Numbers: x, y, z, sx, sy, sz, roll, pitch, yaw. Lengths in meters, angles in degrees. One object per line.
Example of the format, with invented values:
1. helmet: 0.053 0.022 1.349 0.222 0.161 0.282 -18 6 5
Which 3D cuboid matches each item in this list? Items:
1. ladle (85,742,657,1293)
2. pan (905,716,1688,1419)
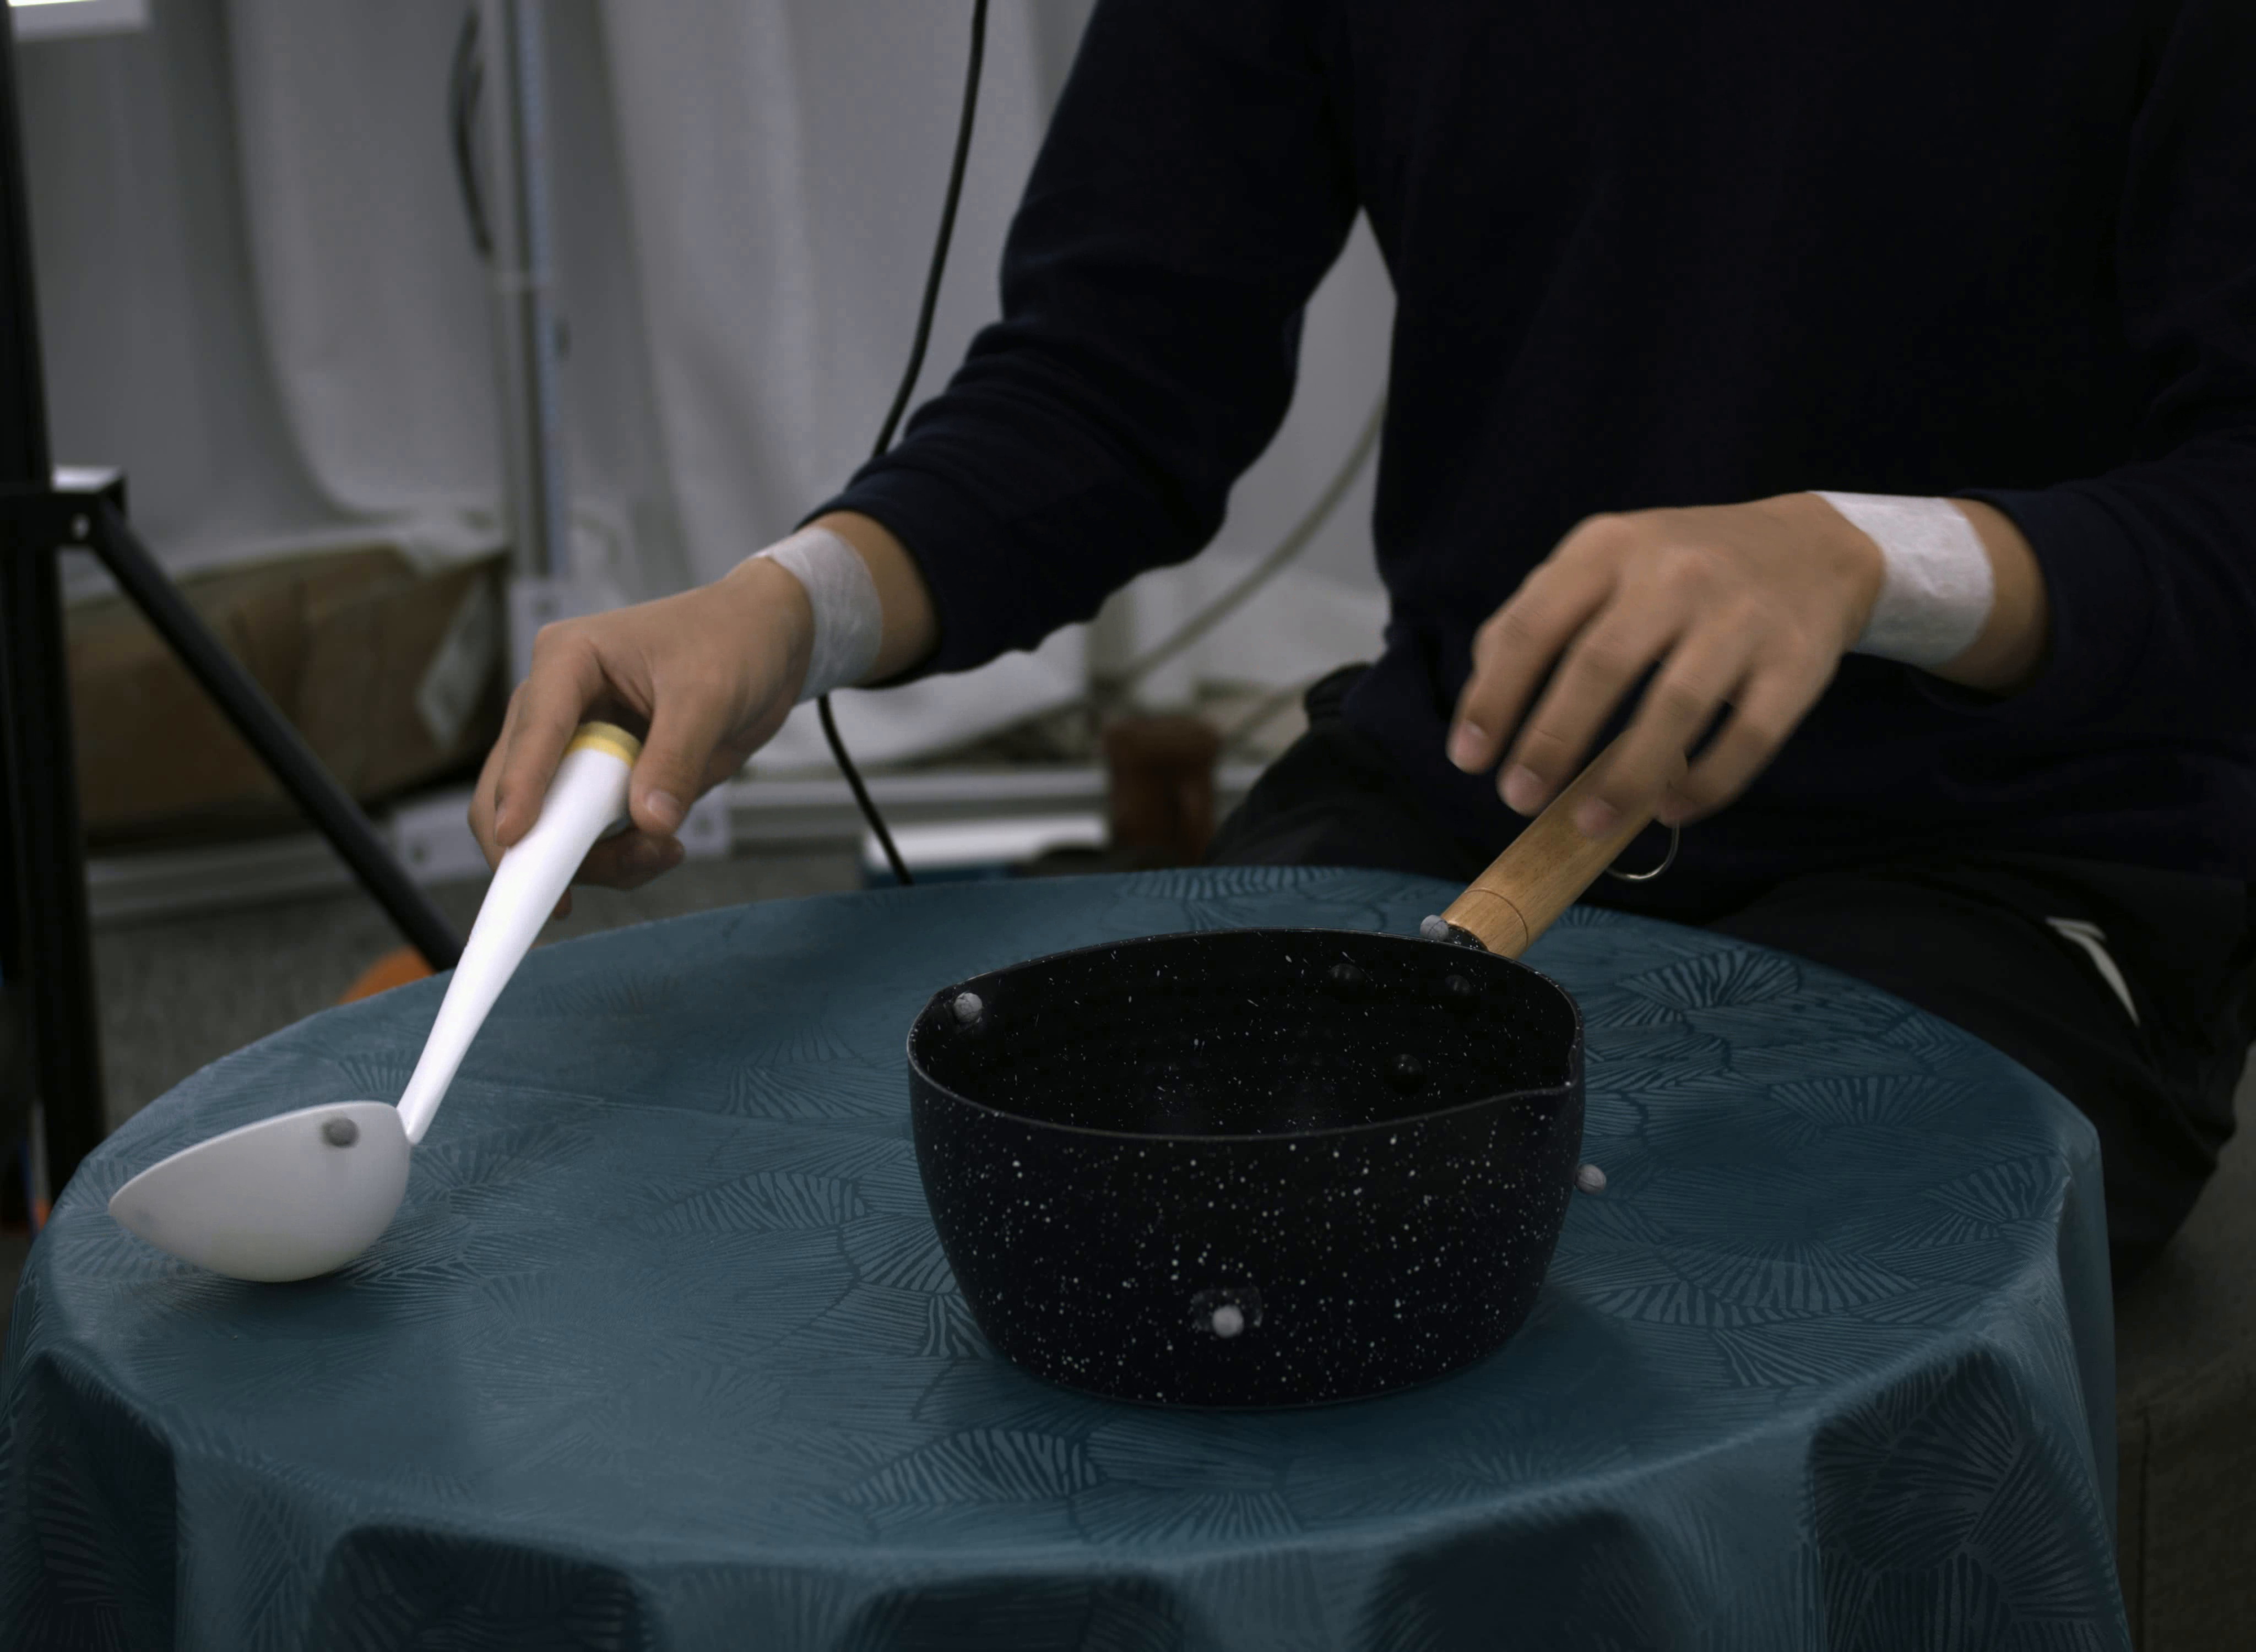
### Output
1. ladle: -0.219 0.047 1.612 0.091 0.069 0.292 -39 13 33
2. pan: 0.073 0.063 1.505 0.211 0.108 0.336 6 19 31
